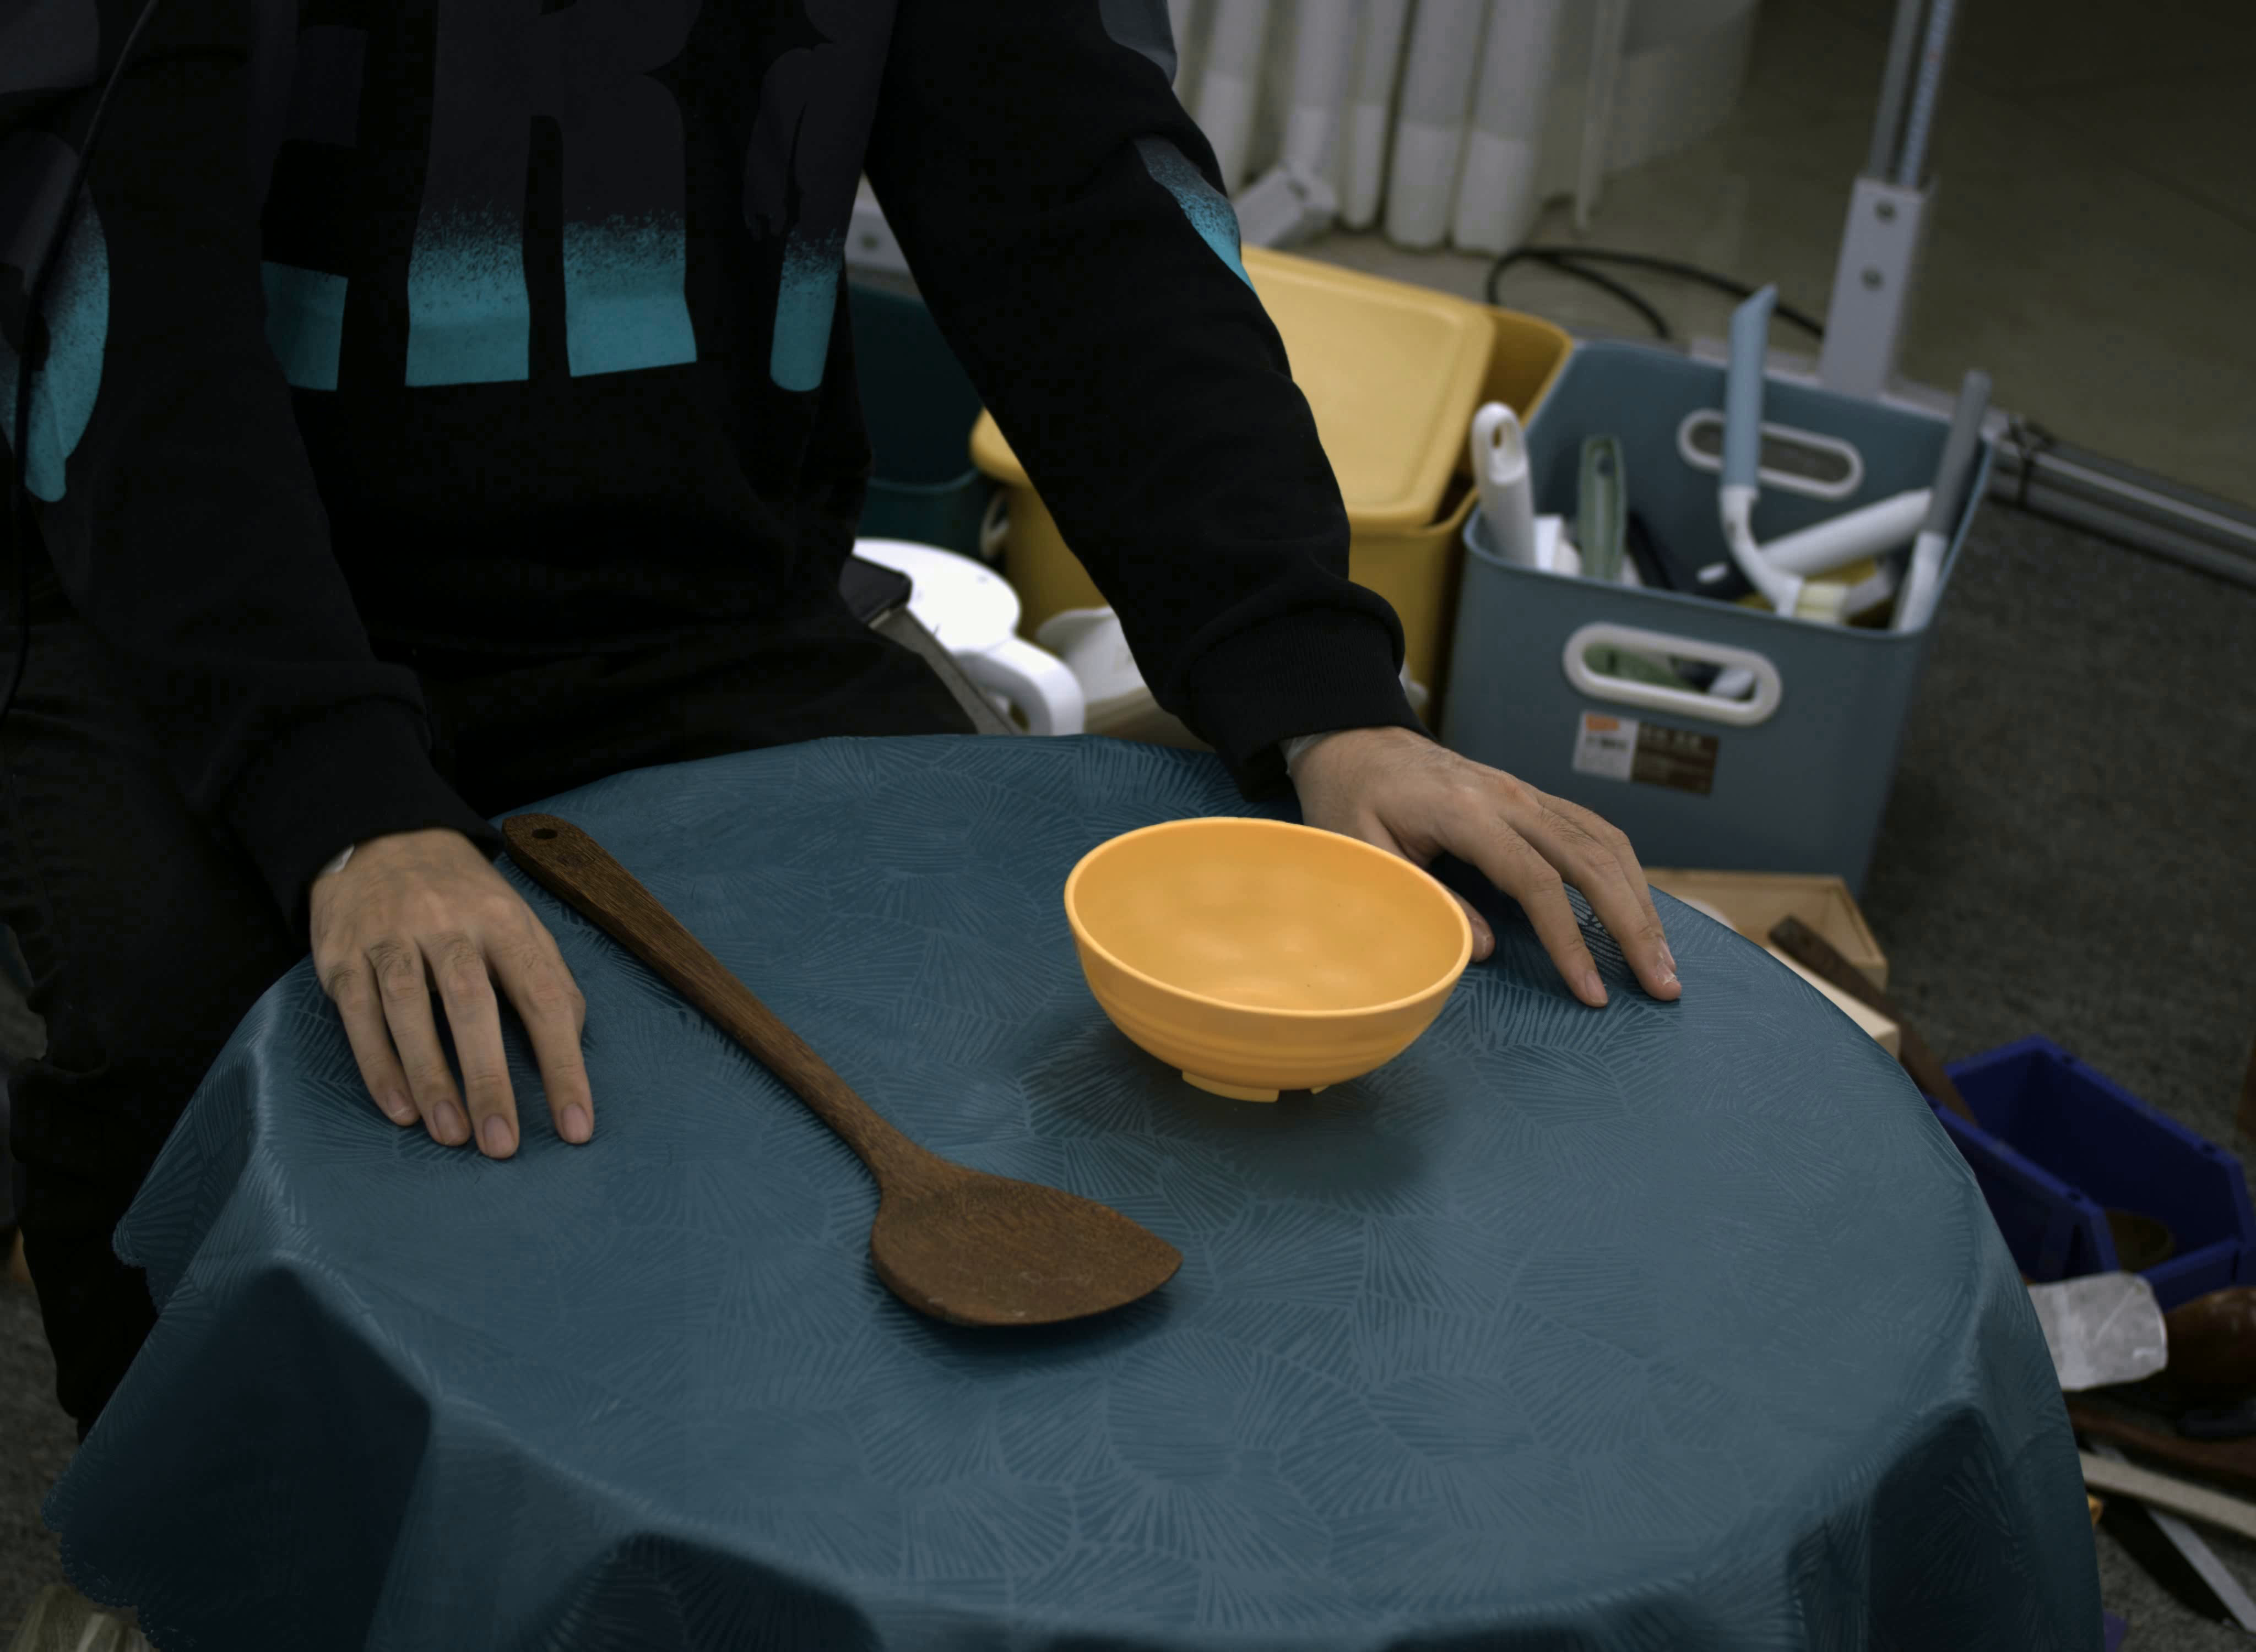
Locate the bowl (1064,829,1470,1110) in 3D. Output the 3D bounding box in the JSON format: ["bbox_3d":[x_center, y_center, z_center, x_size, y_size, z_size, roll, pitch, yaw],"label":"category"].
[{"bbox_3d":[0.045,0.059,1.879,0.145,0.060,0.146,6,24,-3],"label":"bowl"}]

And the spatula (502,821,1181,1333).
[{"bbox_3d":[-0.120,0.079,1.847,0.095,0.016,0.389,-11,32,-33],"label":"spatula"}]
